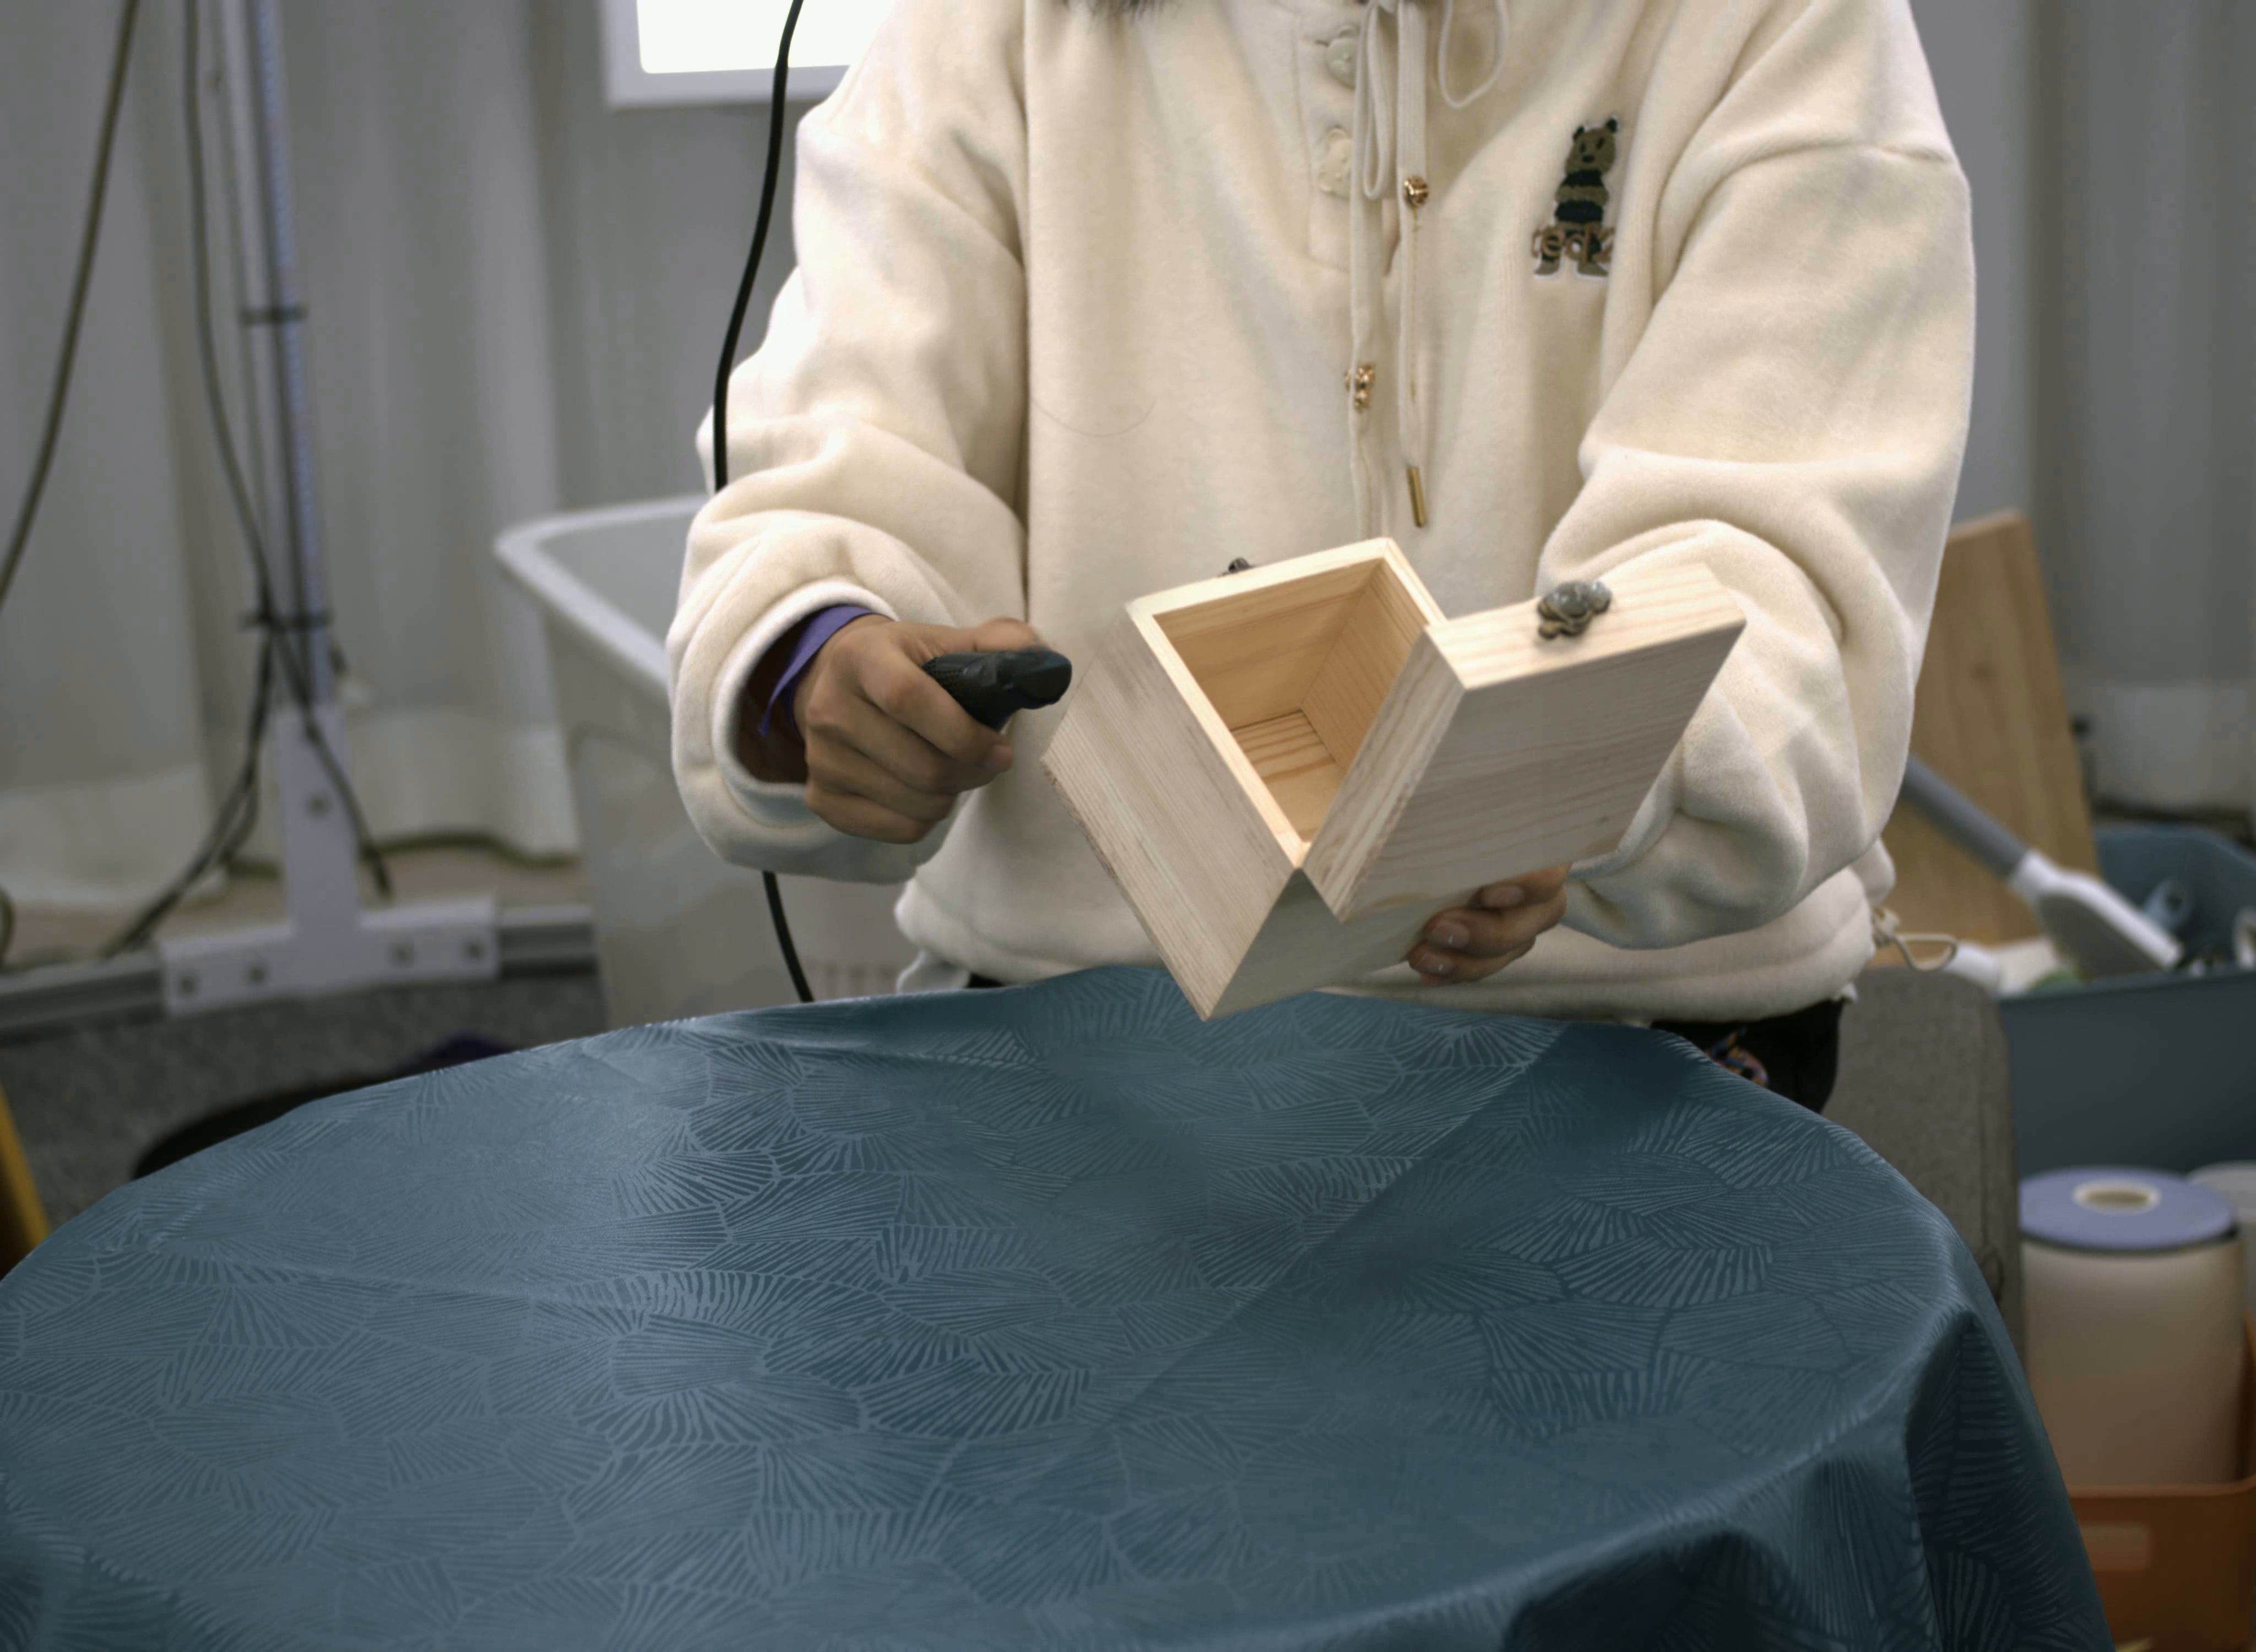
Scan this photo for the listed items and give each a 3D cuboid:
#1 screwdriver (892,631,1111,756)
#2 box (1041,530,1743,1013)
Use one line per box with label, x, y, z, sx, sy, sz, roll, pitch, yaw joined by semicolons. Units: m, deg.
screwdriver;-0.028;-0.046;1.700;0.031;0.031;0.198;-9;-3;-25
box;0.071;-0.041;1.575;0.102;0.183;0.135;-14;60;-33
